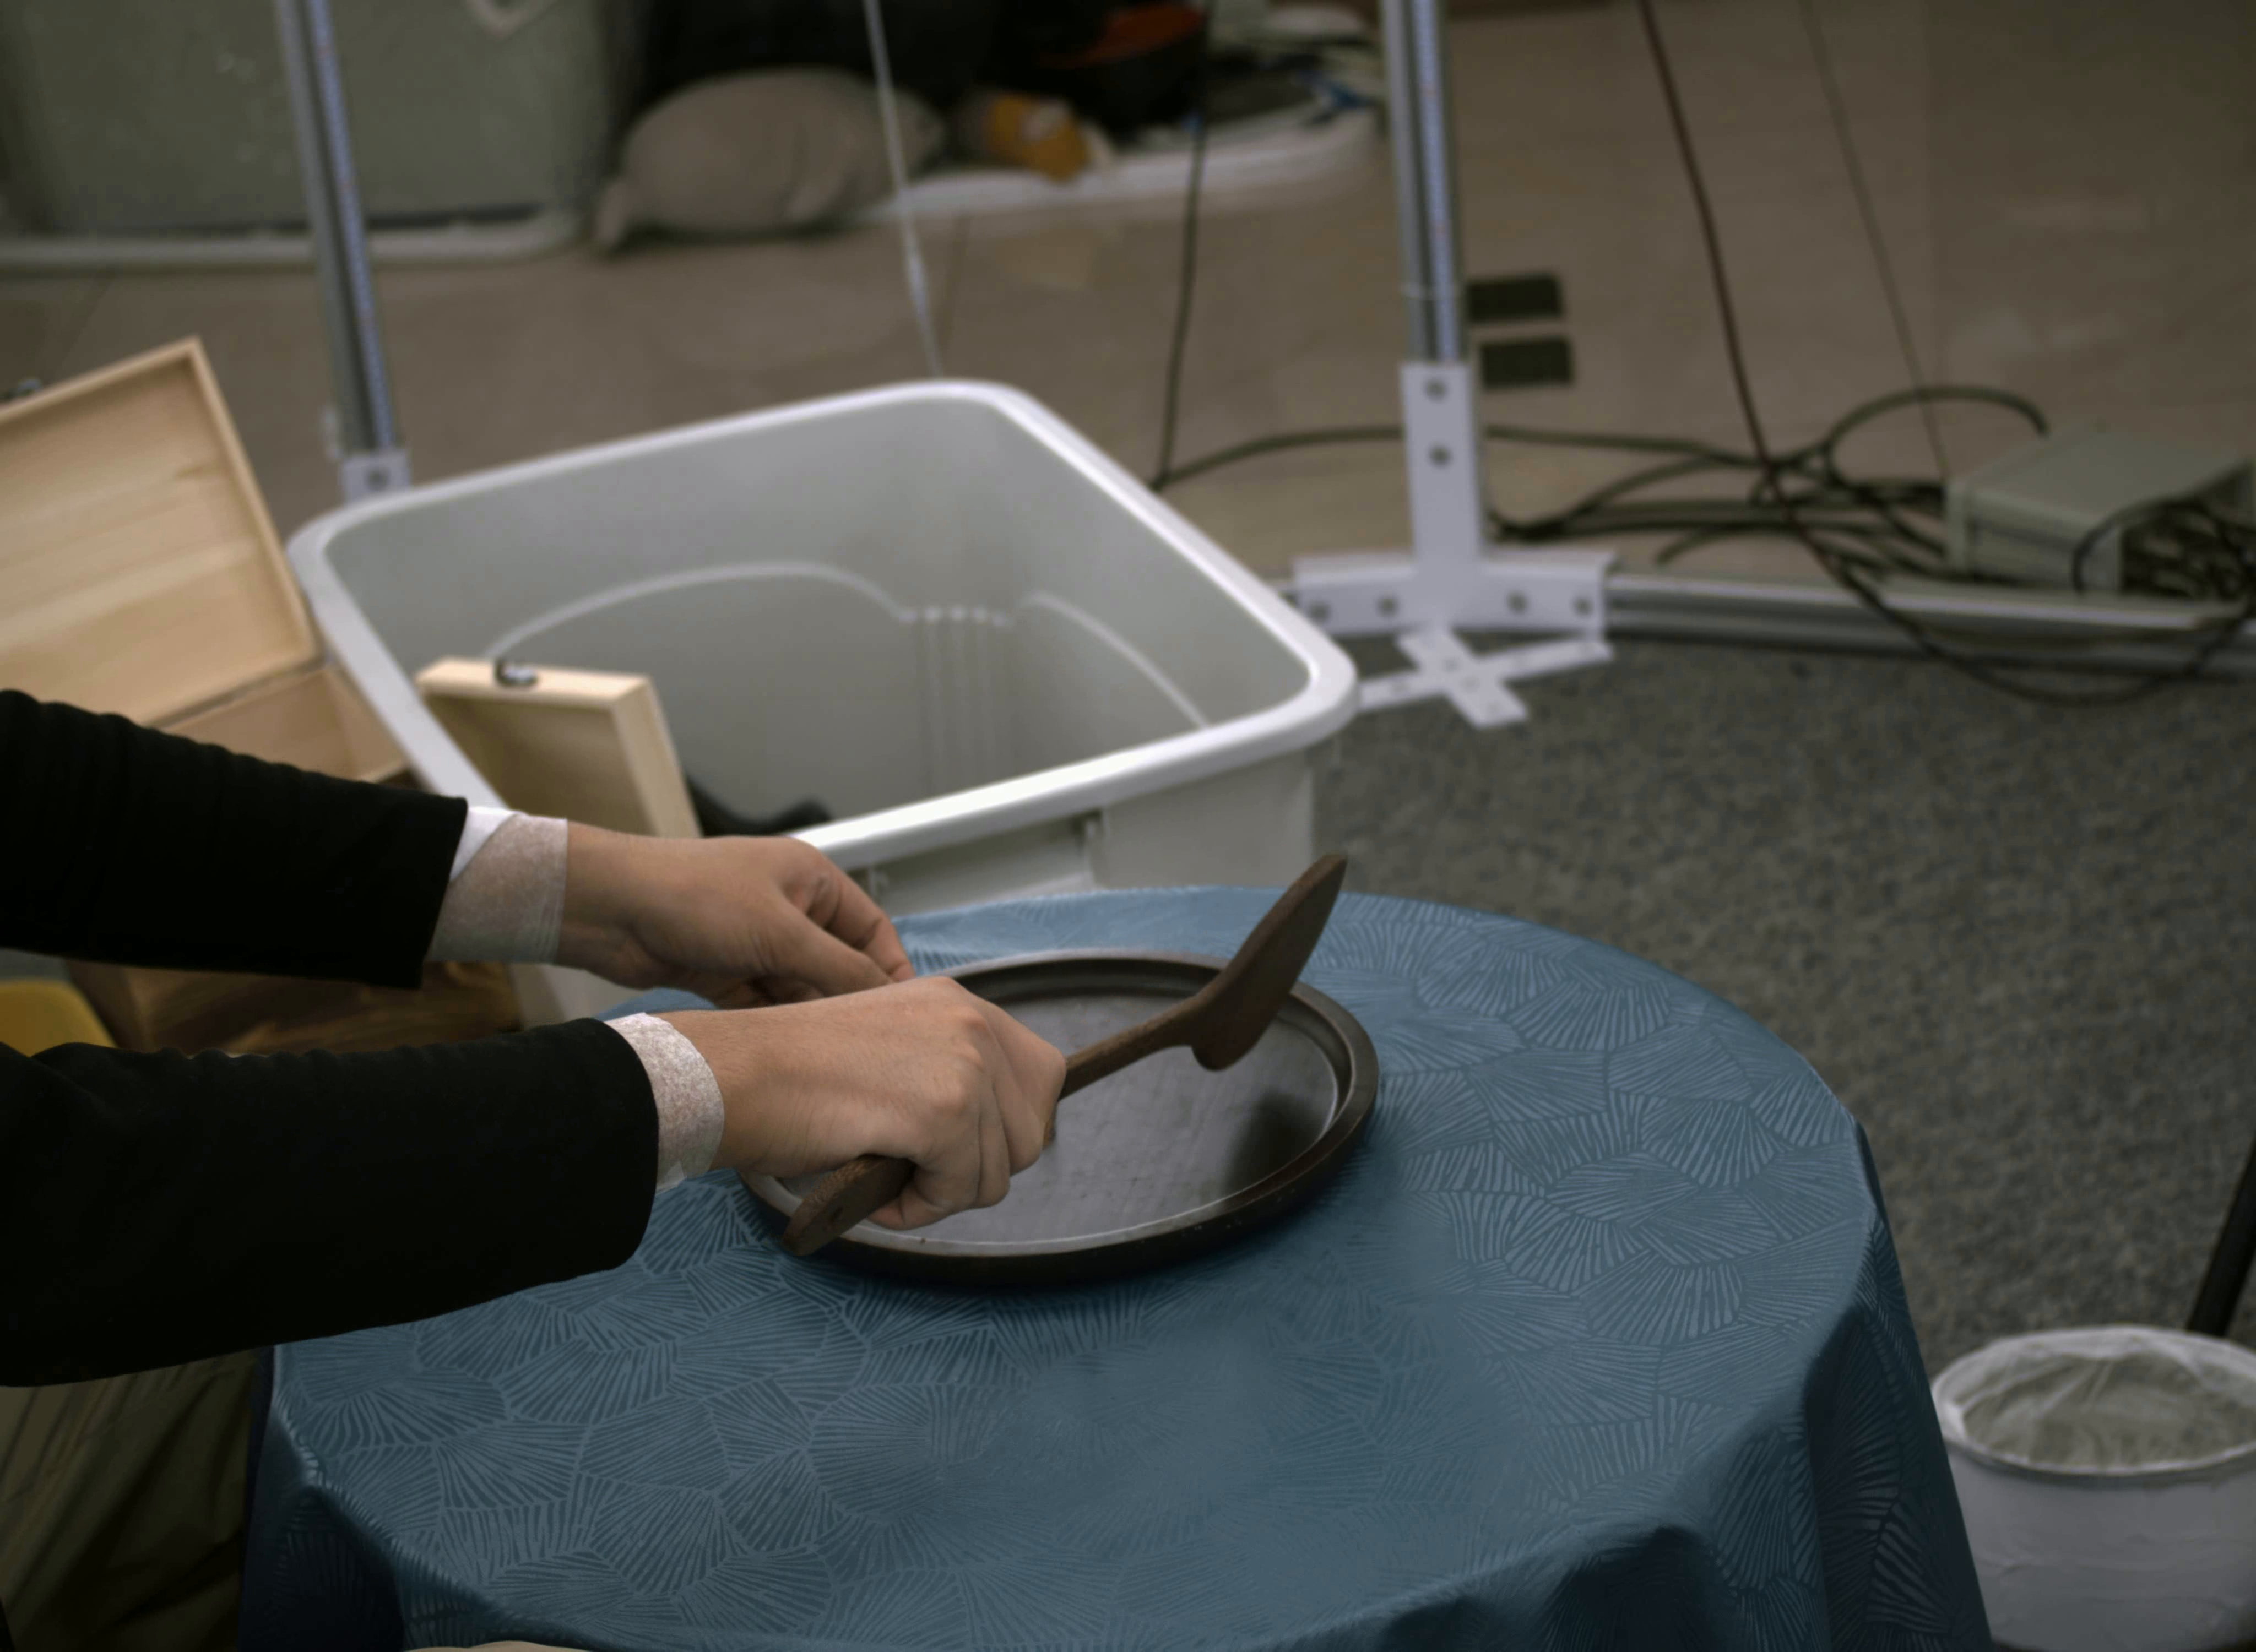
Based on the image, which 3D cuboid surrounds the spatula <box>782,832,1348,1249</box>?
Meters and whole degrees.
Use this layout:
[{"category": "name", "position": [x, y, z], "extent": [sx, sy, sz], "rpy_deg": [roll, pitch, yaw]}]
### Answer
[{"category": "spatula", "position": [-0.019, 0.084, 2.030], "extent": [0.015, 0.097, 0.383], "rpy_deg": [35, 29, 18]}]

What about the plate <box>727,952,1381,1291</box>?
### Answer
[{"category": "plate", "position": [-0.028, 0.112, 2.184], "extent": [0.254, 0.029, 0.251], "rpy_deg": [-5, 27, 3]}]
